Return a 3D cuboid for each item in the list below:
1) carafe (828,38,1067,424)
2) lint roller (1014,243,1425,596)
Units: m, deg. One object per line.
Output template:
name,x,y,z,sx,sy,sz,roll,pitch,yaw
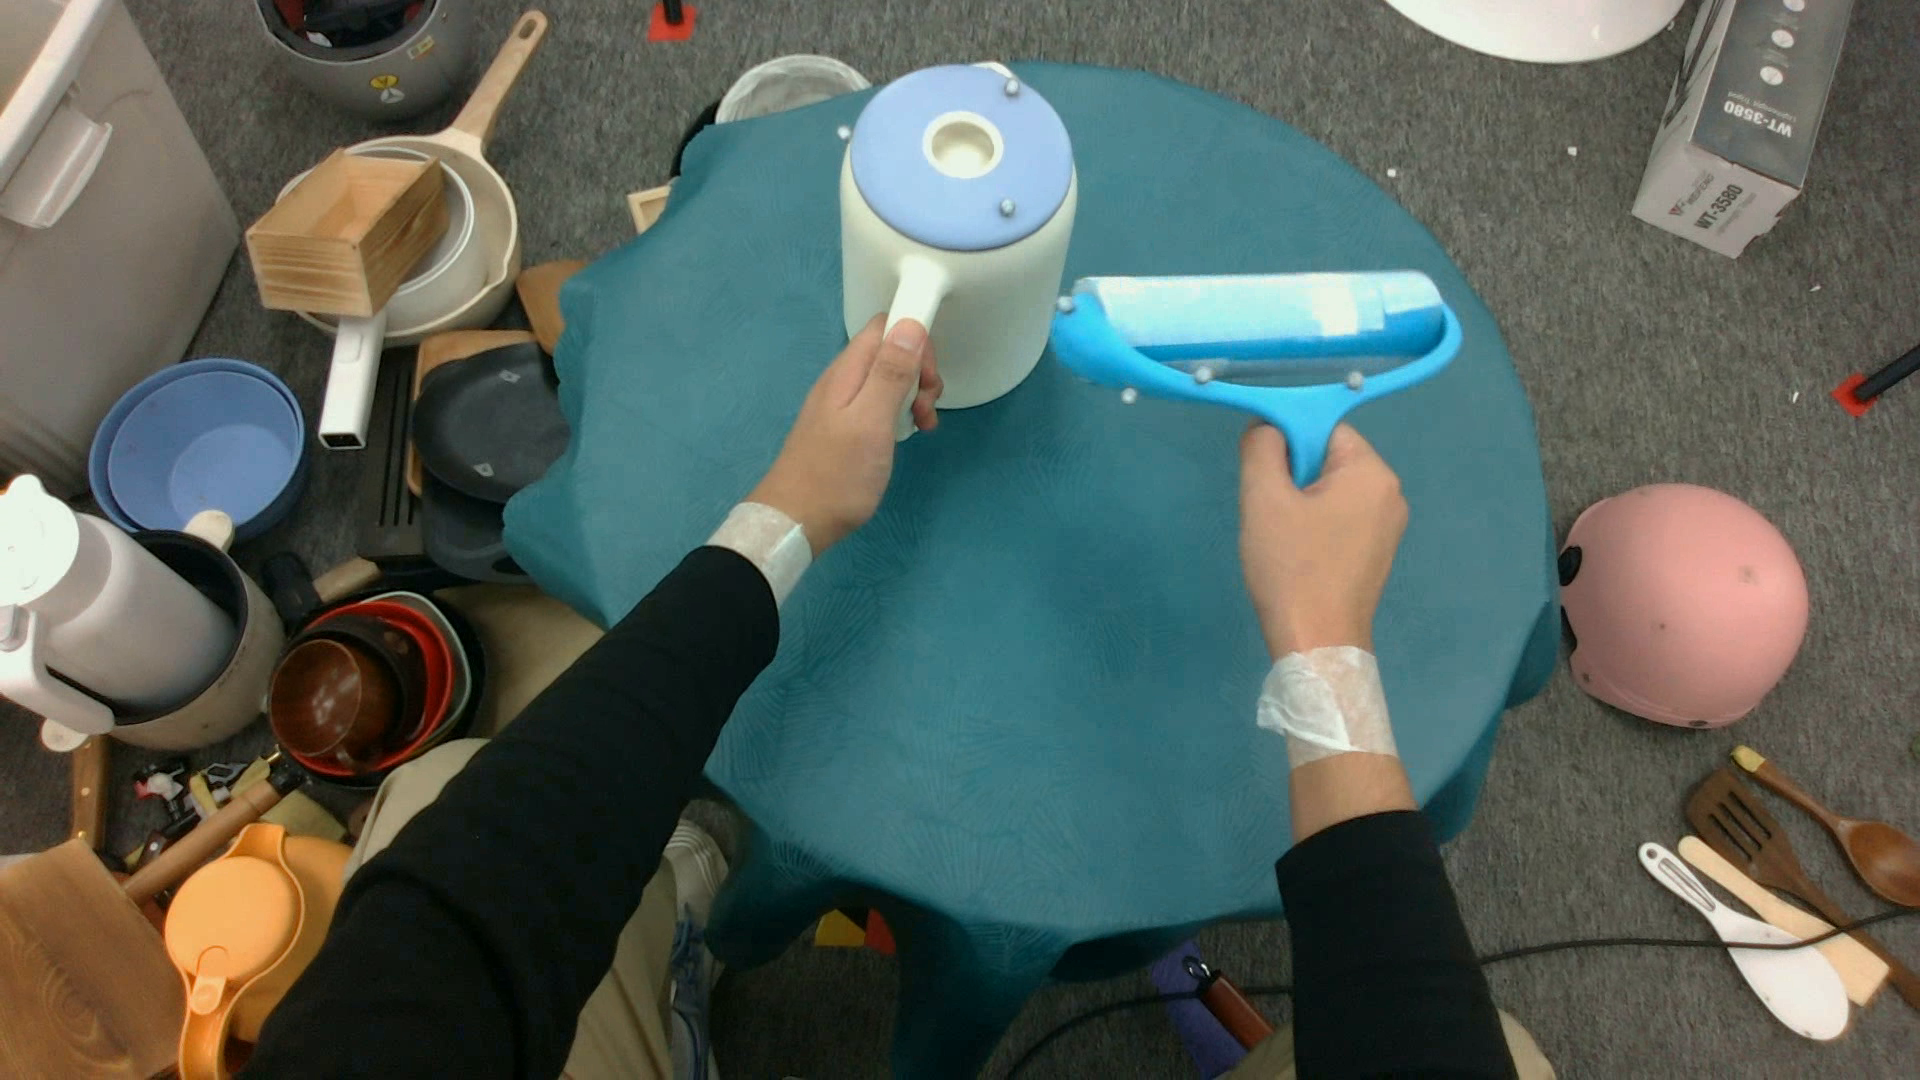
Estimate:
carafe,-0.017,-0.161,0.790,0.132,0.182,0.192,15,69,3
lint roller,0.150,-0.066,0.698,0.229,0.067,0.180,-9,76,-22
